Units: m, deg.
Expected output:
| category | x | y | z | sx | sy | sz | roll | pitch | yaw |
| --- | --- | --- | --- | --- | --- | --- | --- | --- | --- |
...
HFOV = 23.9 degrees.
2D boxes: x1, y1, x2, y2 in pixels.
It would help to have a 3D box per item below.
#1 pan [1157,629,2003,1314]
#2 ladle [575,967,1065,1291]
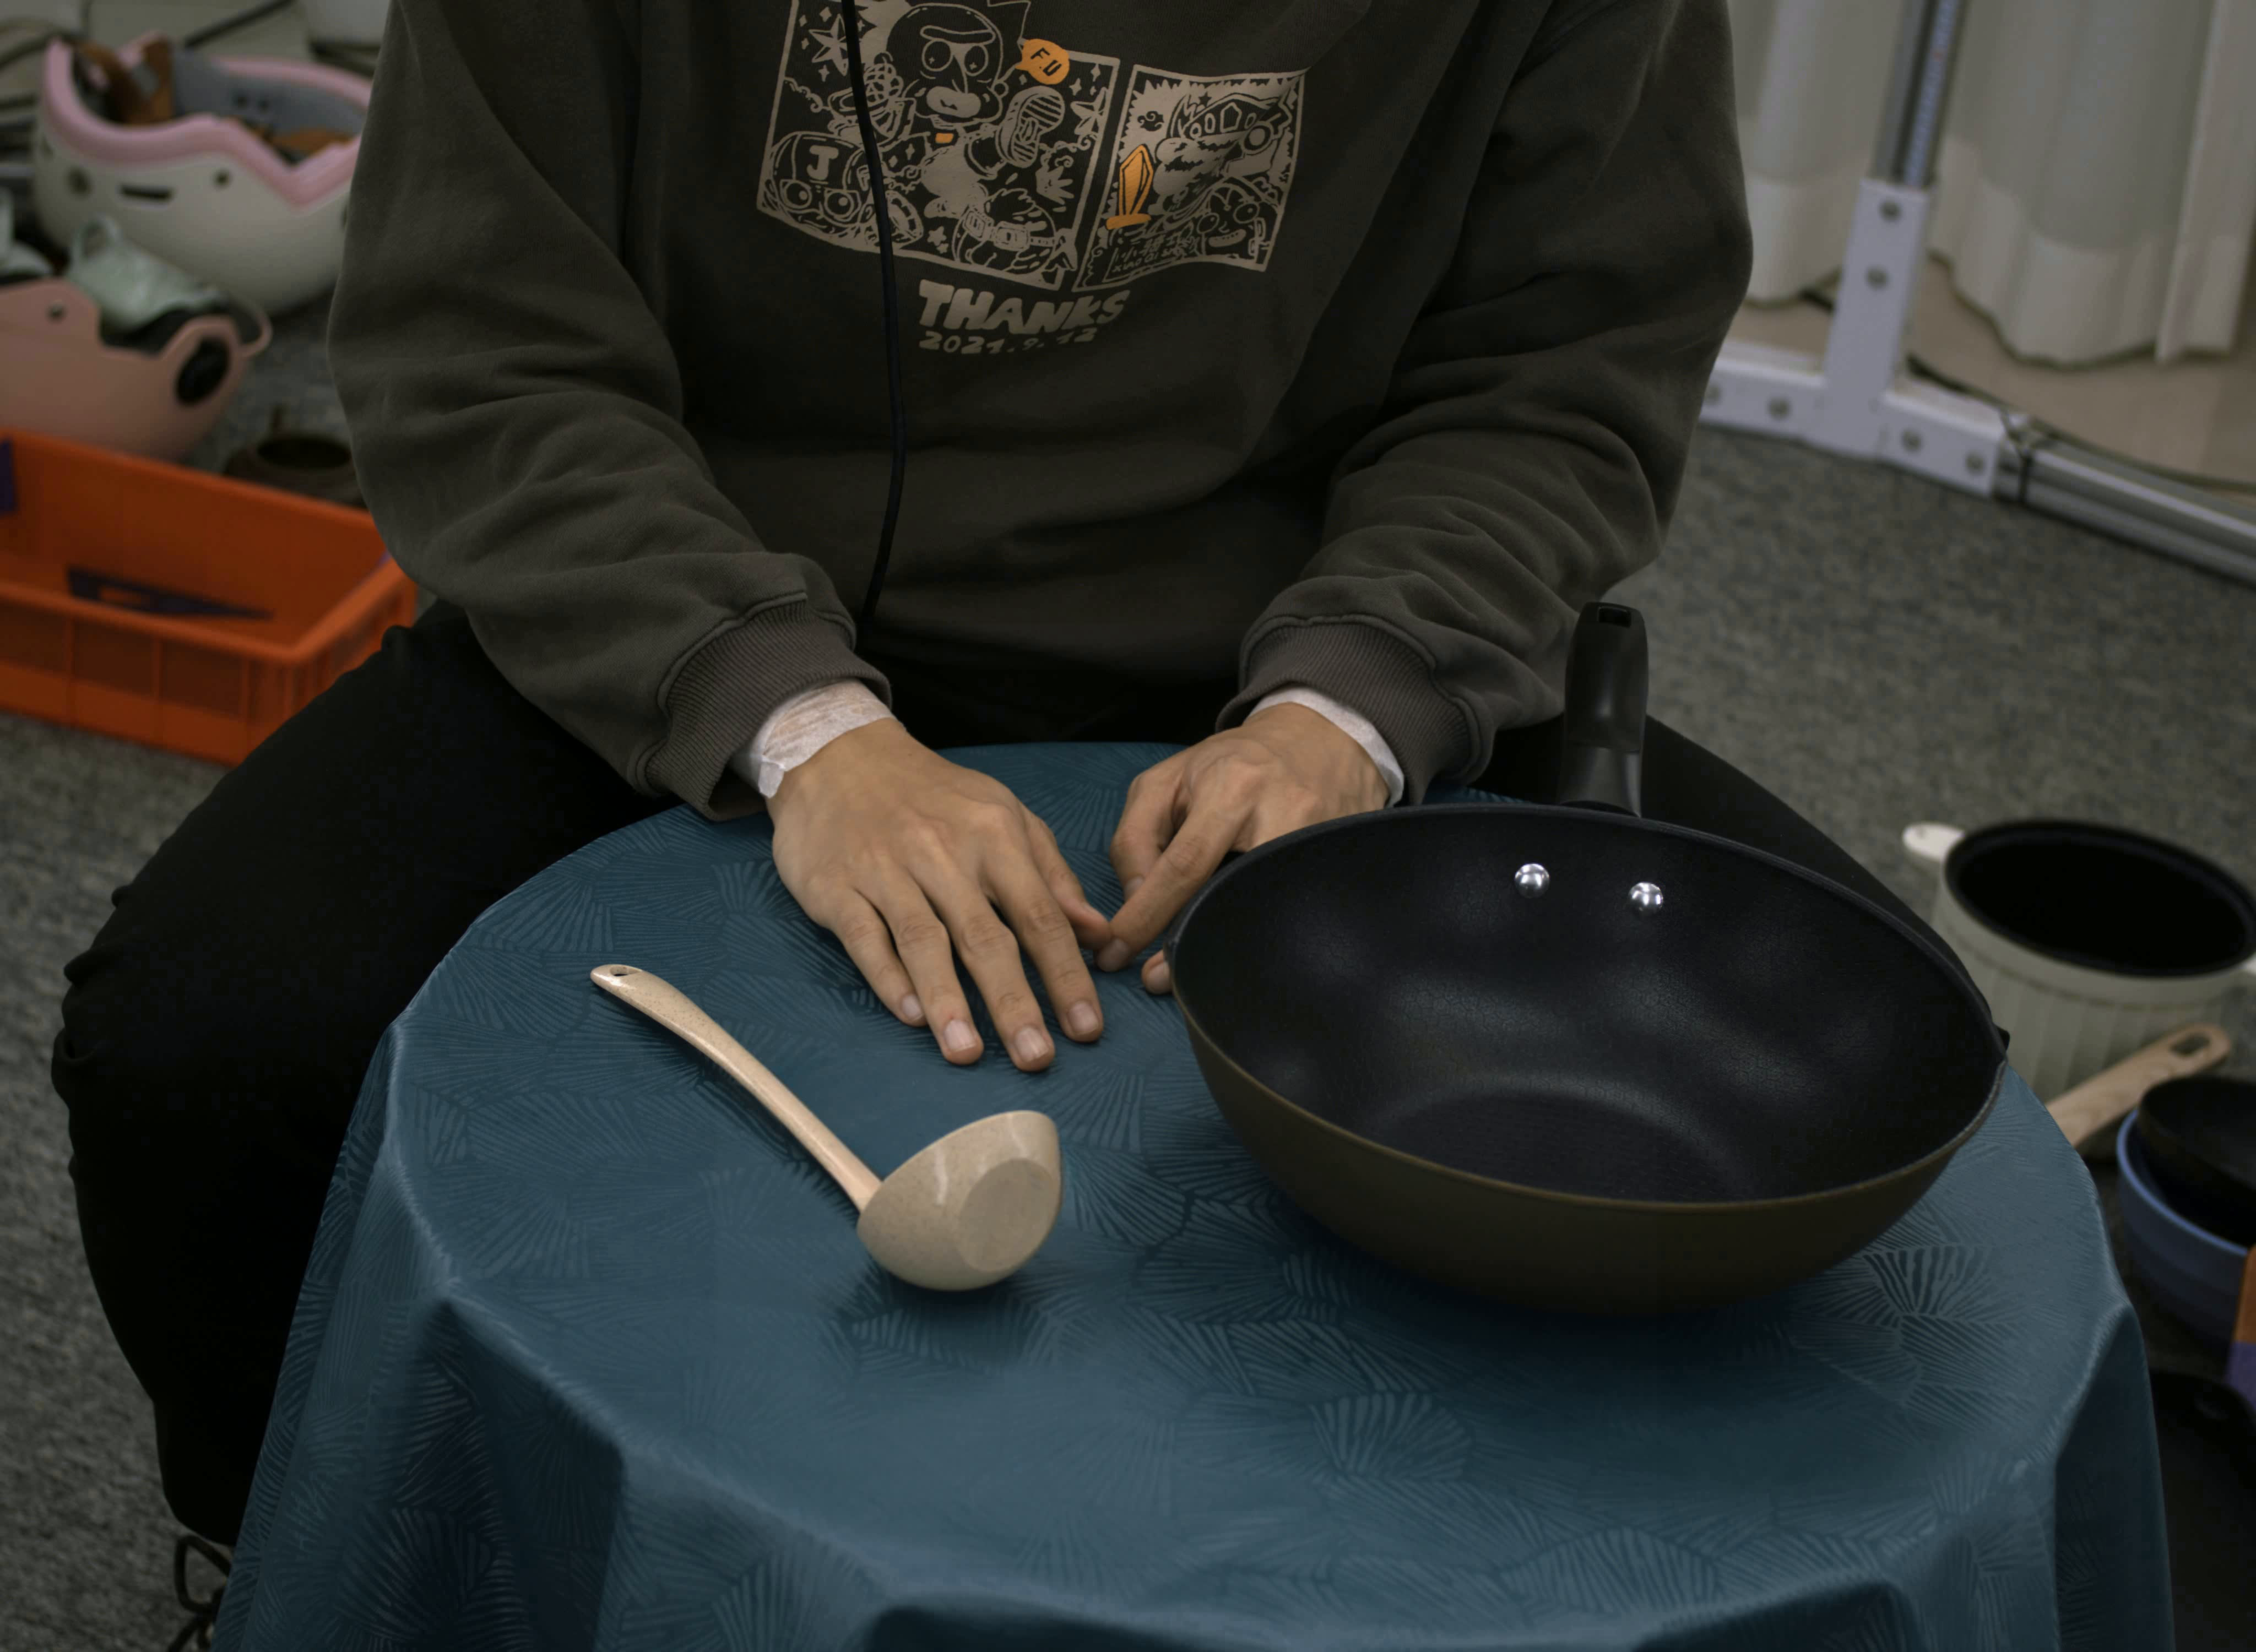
| category | x | y | z | sx | sy | sz | roll | pitch | yaw |
| --- | --- | --- | --- | --- | --- | --- | --- | --- | --- |
| pan | 0.158 | 0.051 | 1.892 | 0.287 | 0.086 | 0.465 | 8 | 25 | 4 |
| ladle | -0.115 | 0.075 | 1.793 | 0.072 | 0.072 | 0.256 | -20 | 37 | -33 |
